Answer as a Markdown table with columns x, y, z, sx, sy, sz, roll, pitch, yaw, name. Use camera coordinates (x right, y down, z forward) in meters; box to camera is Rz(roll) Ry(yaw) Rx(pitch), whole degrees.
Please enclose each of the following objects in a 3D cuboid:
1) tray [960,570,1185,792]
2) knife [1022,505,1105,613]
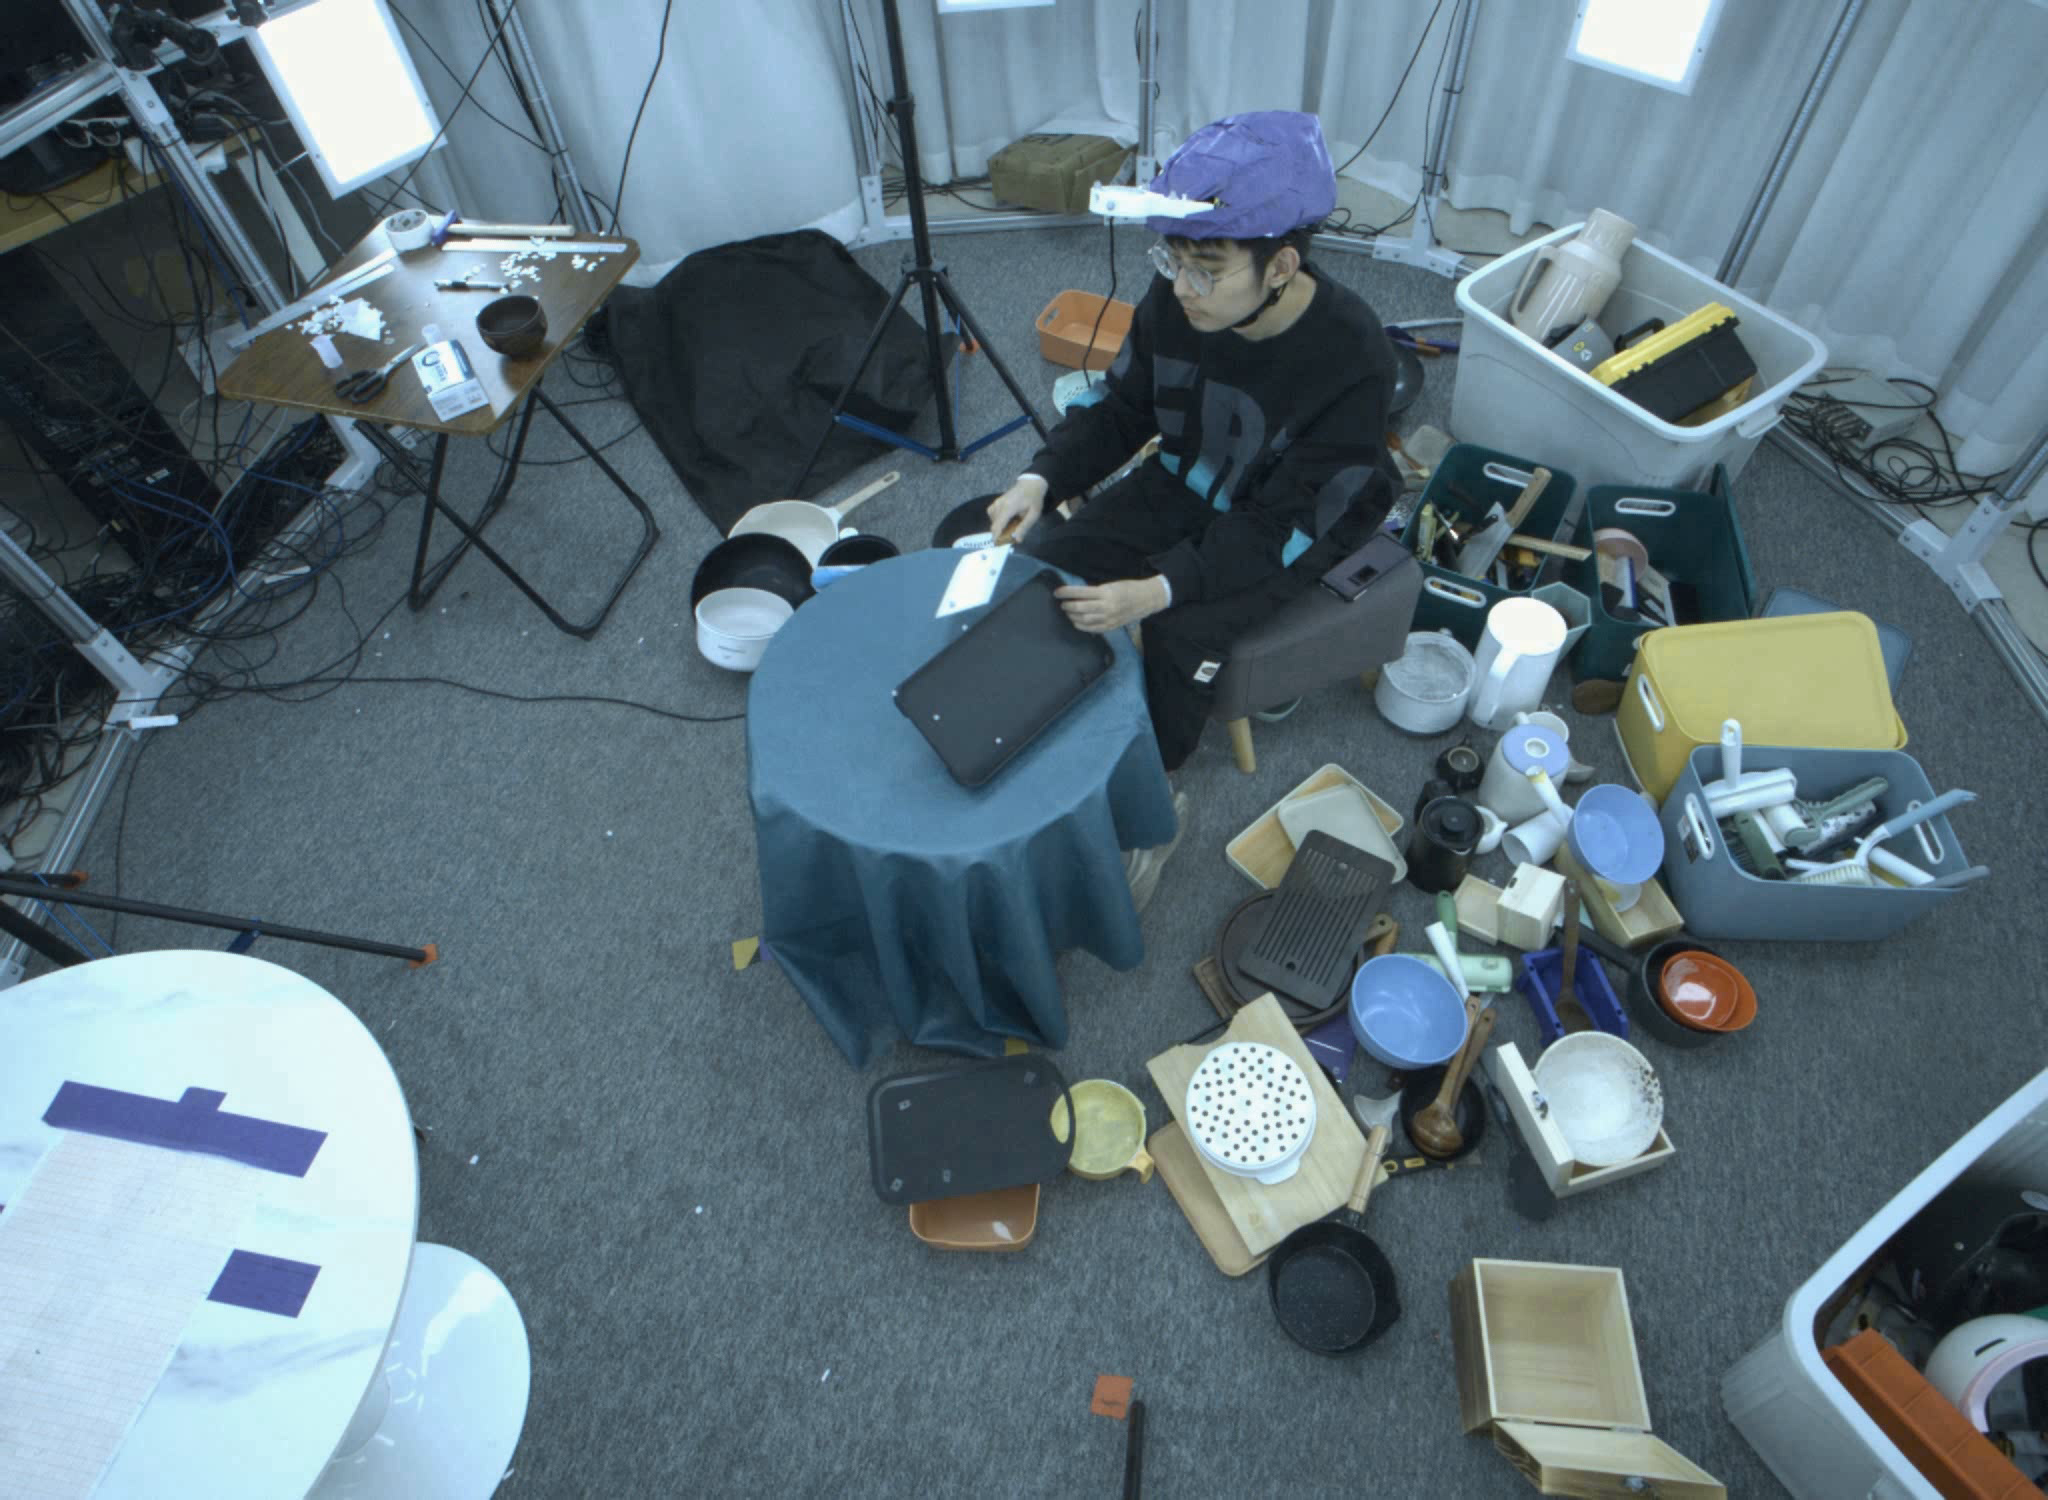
| x | y | z | sx | sy | sz | roll | pitch | yaw | name |
| --- | --- | --- | --- | --- | --- | --- | --- | --- | --- |
| 0.073 | -0.100 | 1.763 | 0.320 | 0.036 | 0.186 | -40 | 103 | -20 | tray |
| 0.059 | -0.294 | 1.883 | 0.091 | 0.021 | 0.305 | -10 | 34 | 24 | knife |
